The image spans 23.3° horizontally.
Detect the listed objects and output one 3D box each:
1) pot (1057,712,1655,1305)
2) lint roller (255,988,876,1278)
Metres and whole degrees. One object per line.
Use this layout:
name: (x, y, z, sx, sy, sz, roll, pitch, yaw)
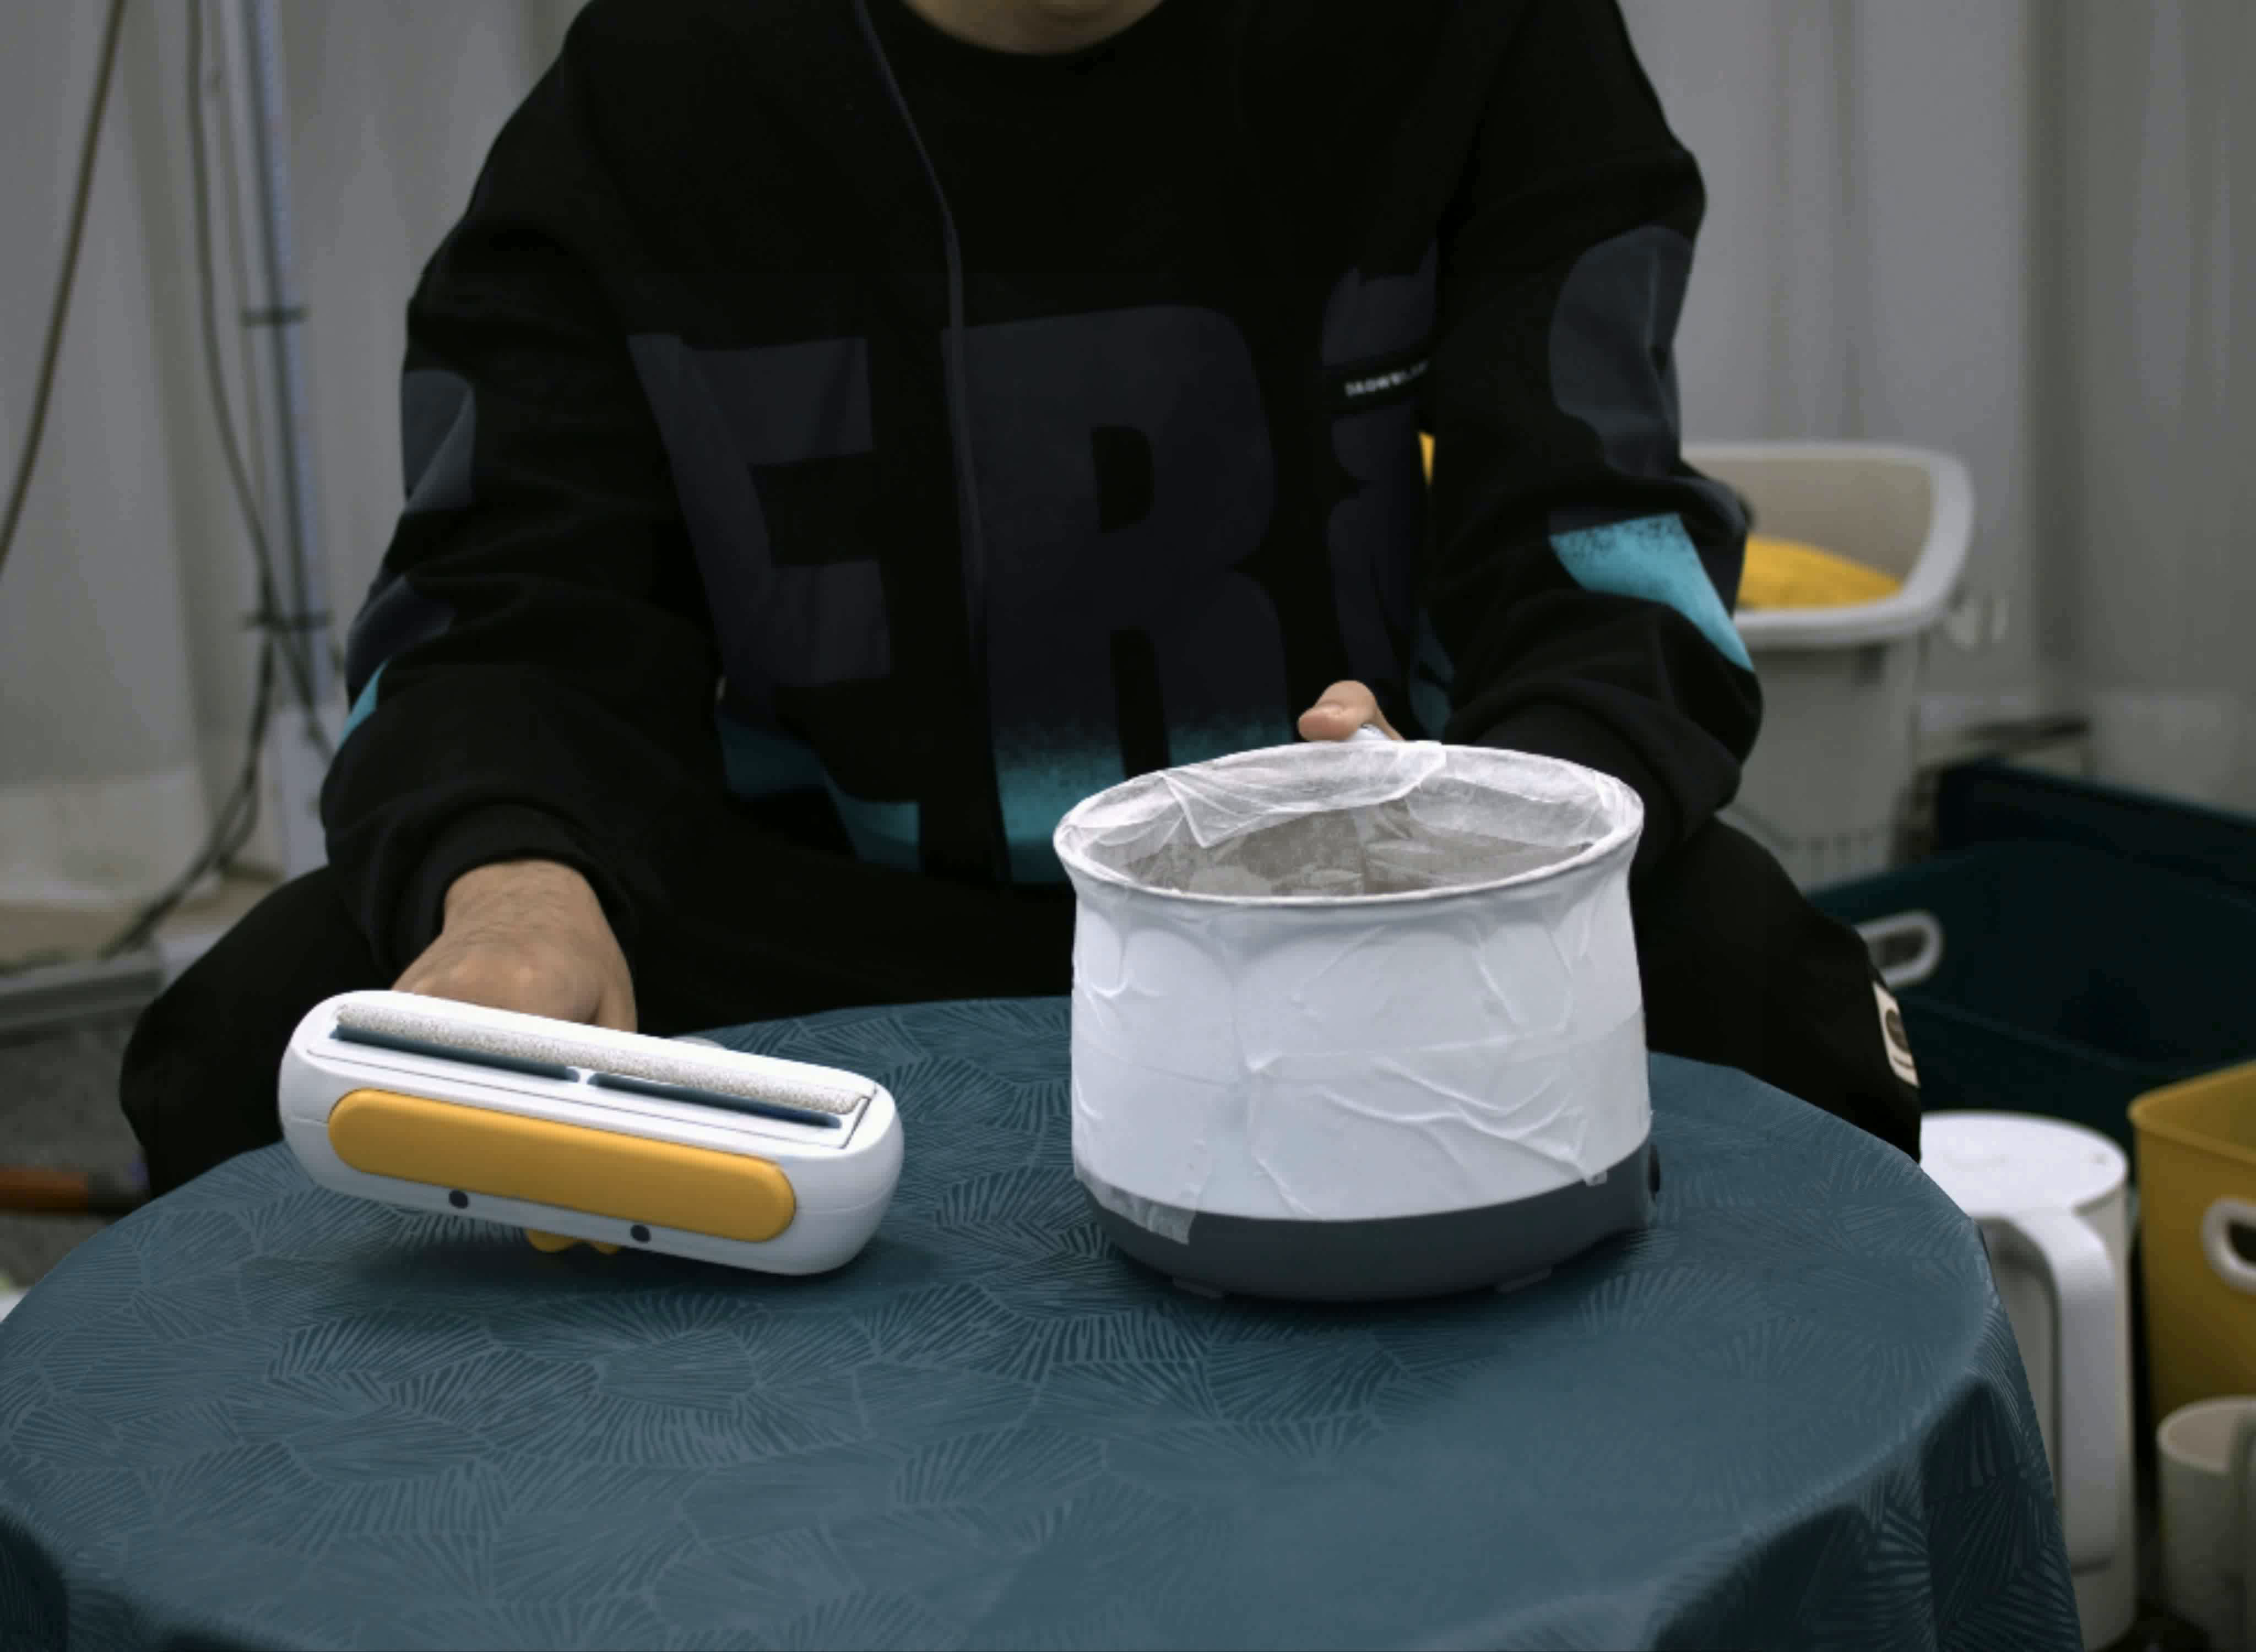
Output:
pot: (0.071, 0.050, 1.671, 0.178, 0.136, 0.235, -1, 16, 4)
lint roller: (-0.158, 0.086, 1.726, 0.193, 0.074, 0.193, 6, 15, 13)
